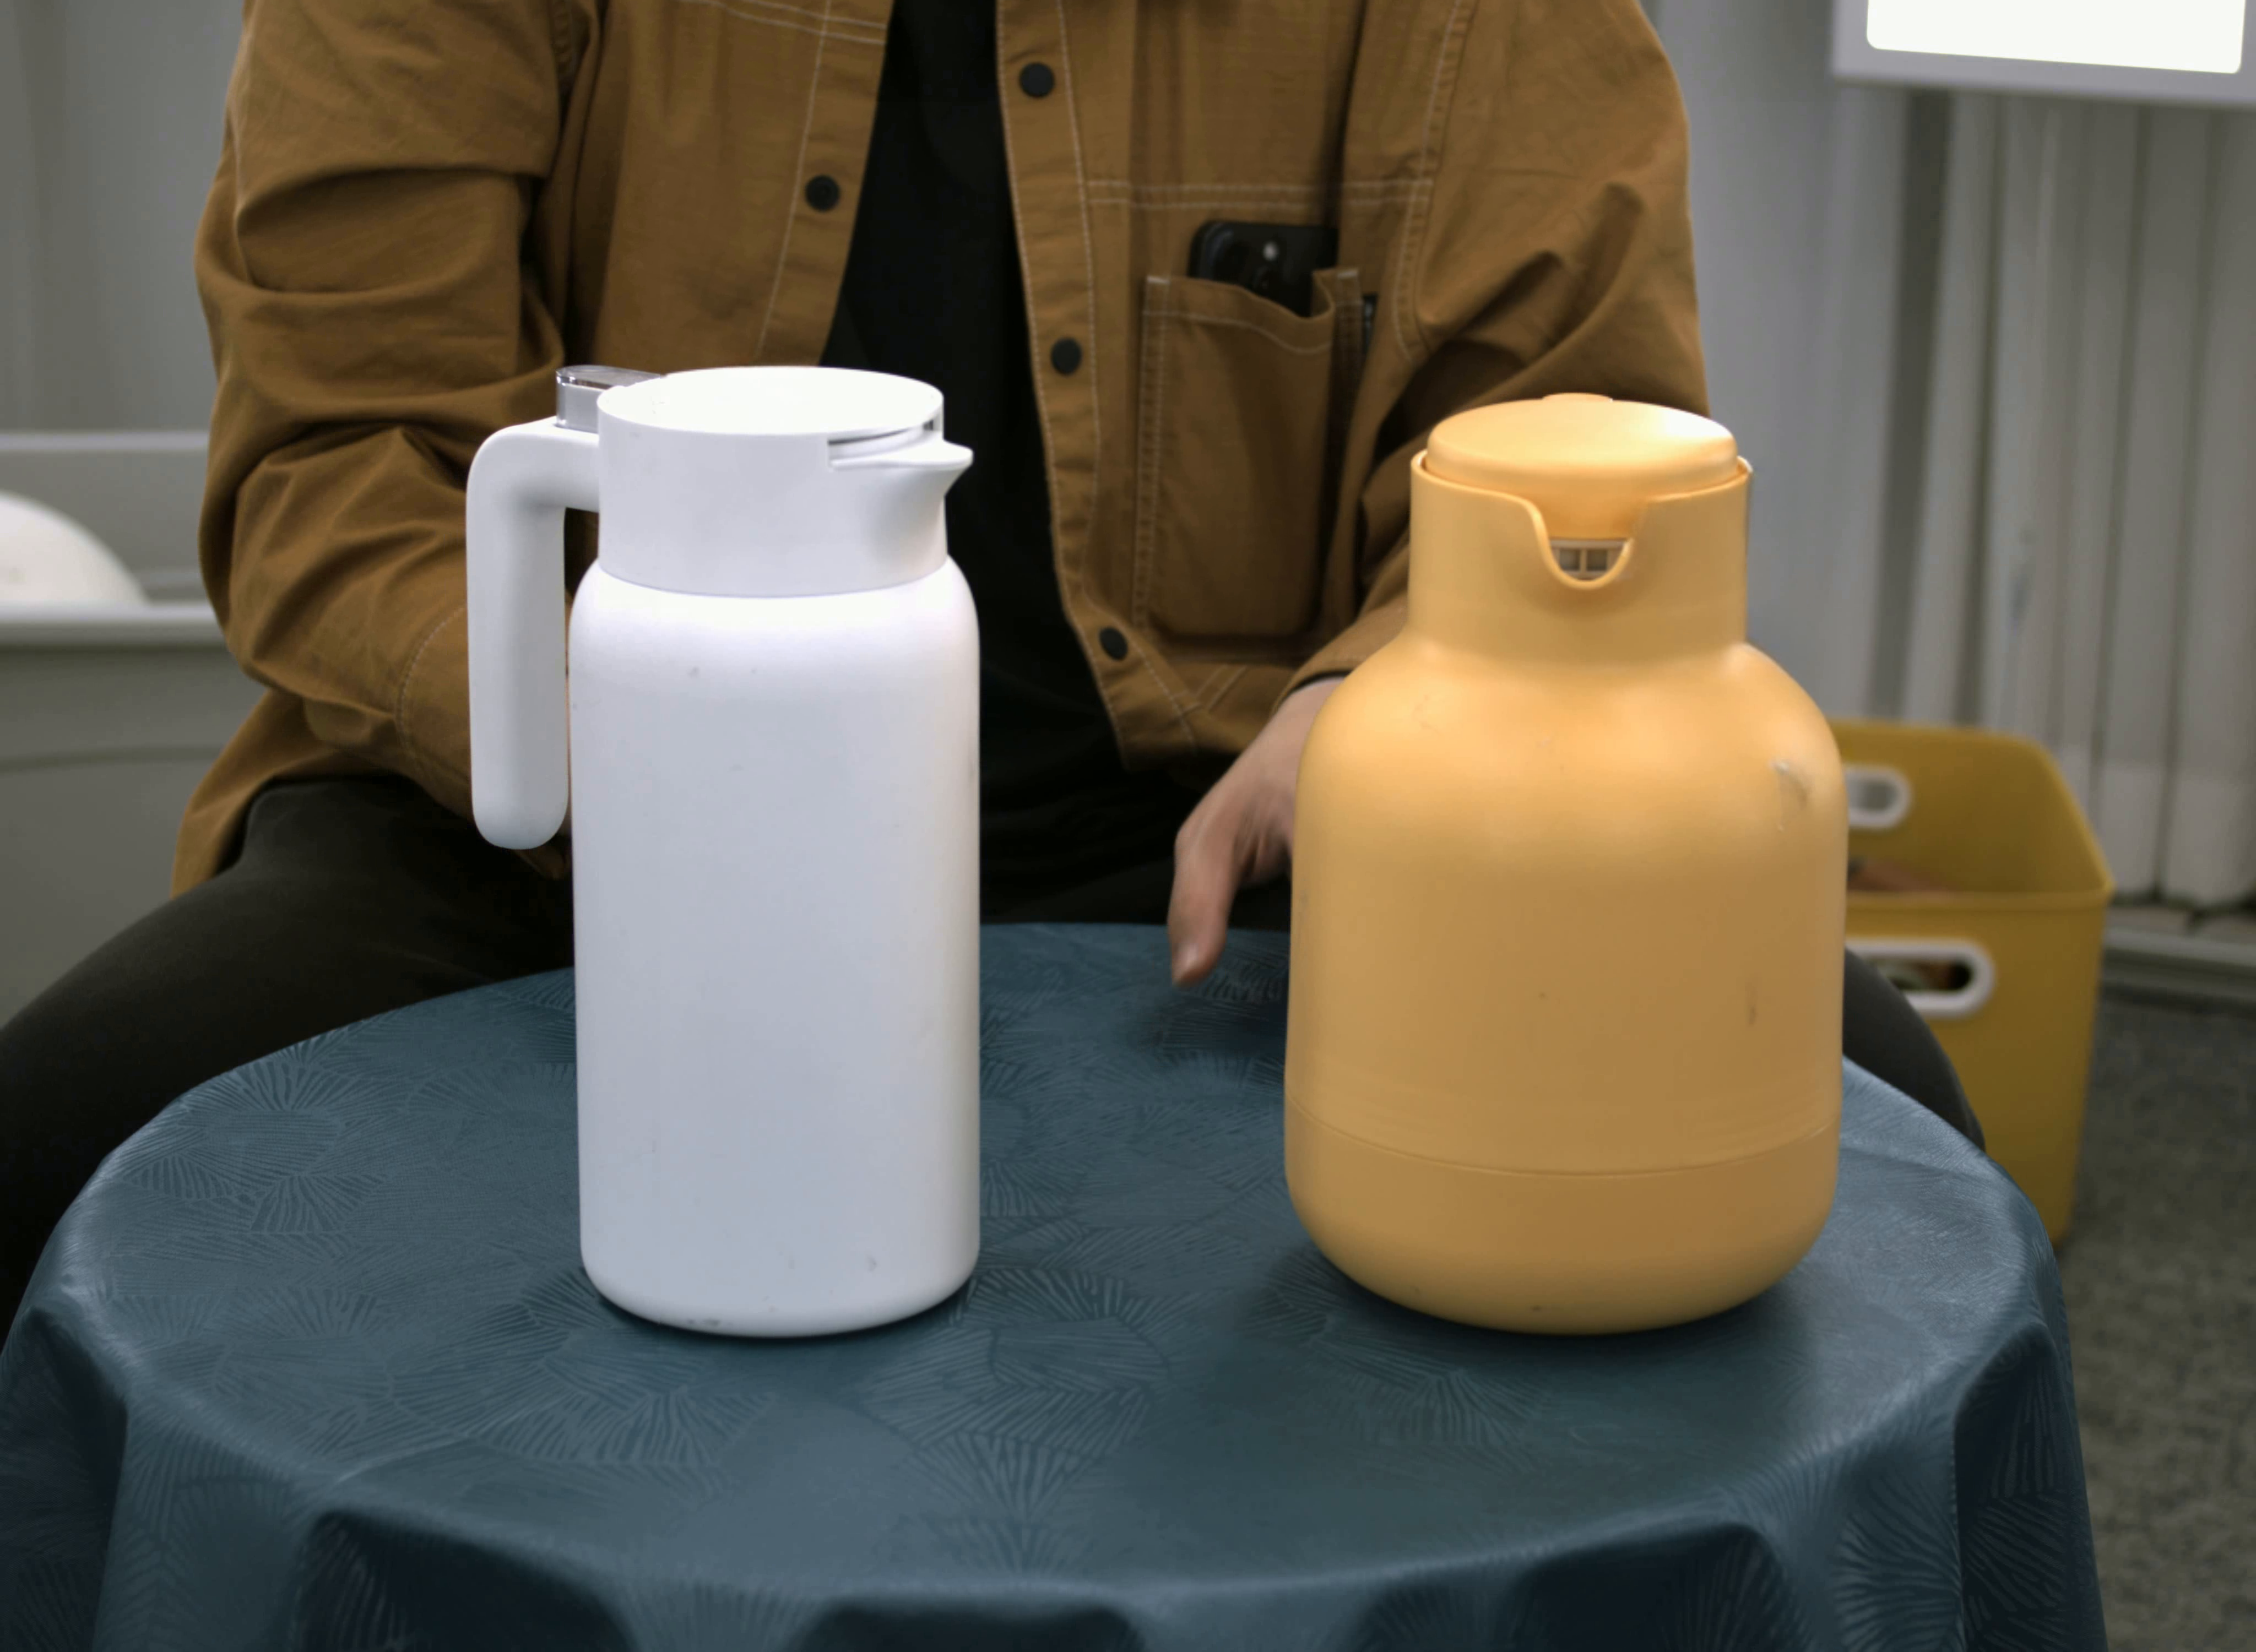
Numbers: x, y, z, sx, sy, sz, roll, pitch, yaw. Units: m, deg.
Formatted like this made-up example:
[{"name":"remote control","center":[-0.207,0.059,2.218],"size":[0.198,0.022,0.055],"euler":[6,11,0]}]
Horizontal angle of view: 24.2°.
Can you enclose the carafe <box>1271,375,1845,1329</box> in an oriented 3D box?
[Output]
[{"name":"carafe","center":[0.129,-0.001,1.539],"size":[0.163,0.262,0.201],"euler":[5,18,4]}]

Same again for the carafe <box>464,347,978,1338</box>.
[{"name":"carafe","center":[-0.117,0.002,1.514],"size":[0.170,0.271,0.124],"euler":[10,21,31]}]
